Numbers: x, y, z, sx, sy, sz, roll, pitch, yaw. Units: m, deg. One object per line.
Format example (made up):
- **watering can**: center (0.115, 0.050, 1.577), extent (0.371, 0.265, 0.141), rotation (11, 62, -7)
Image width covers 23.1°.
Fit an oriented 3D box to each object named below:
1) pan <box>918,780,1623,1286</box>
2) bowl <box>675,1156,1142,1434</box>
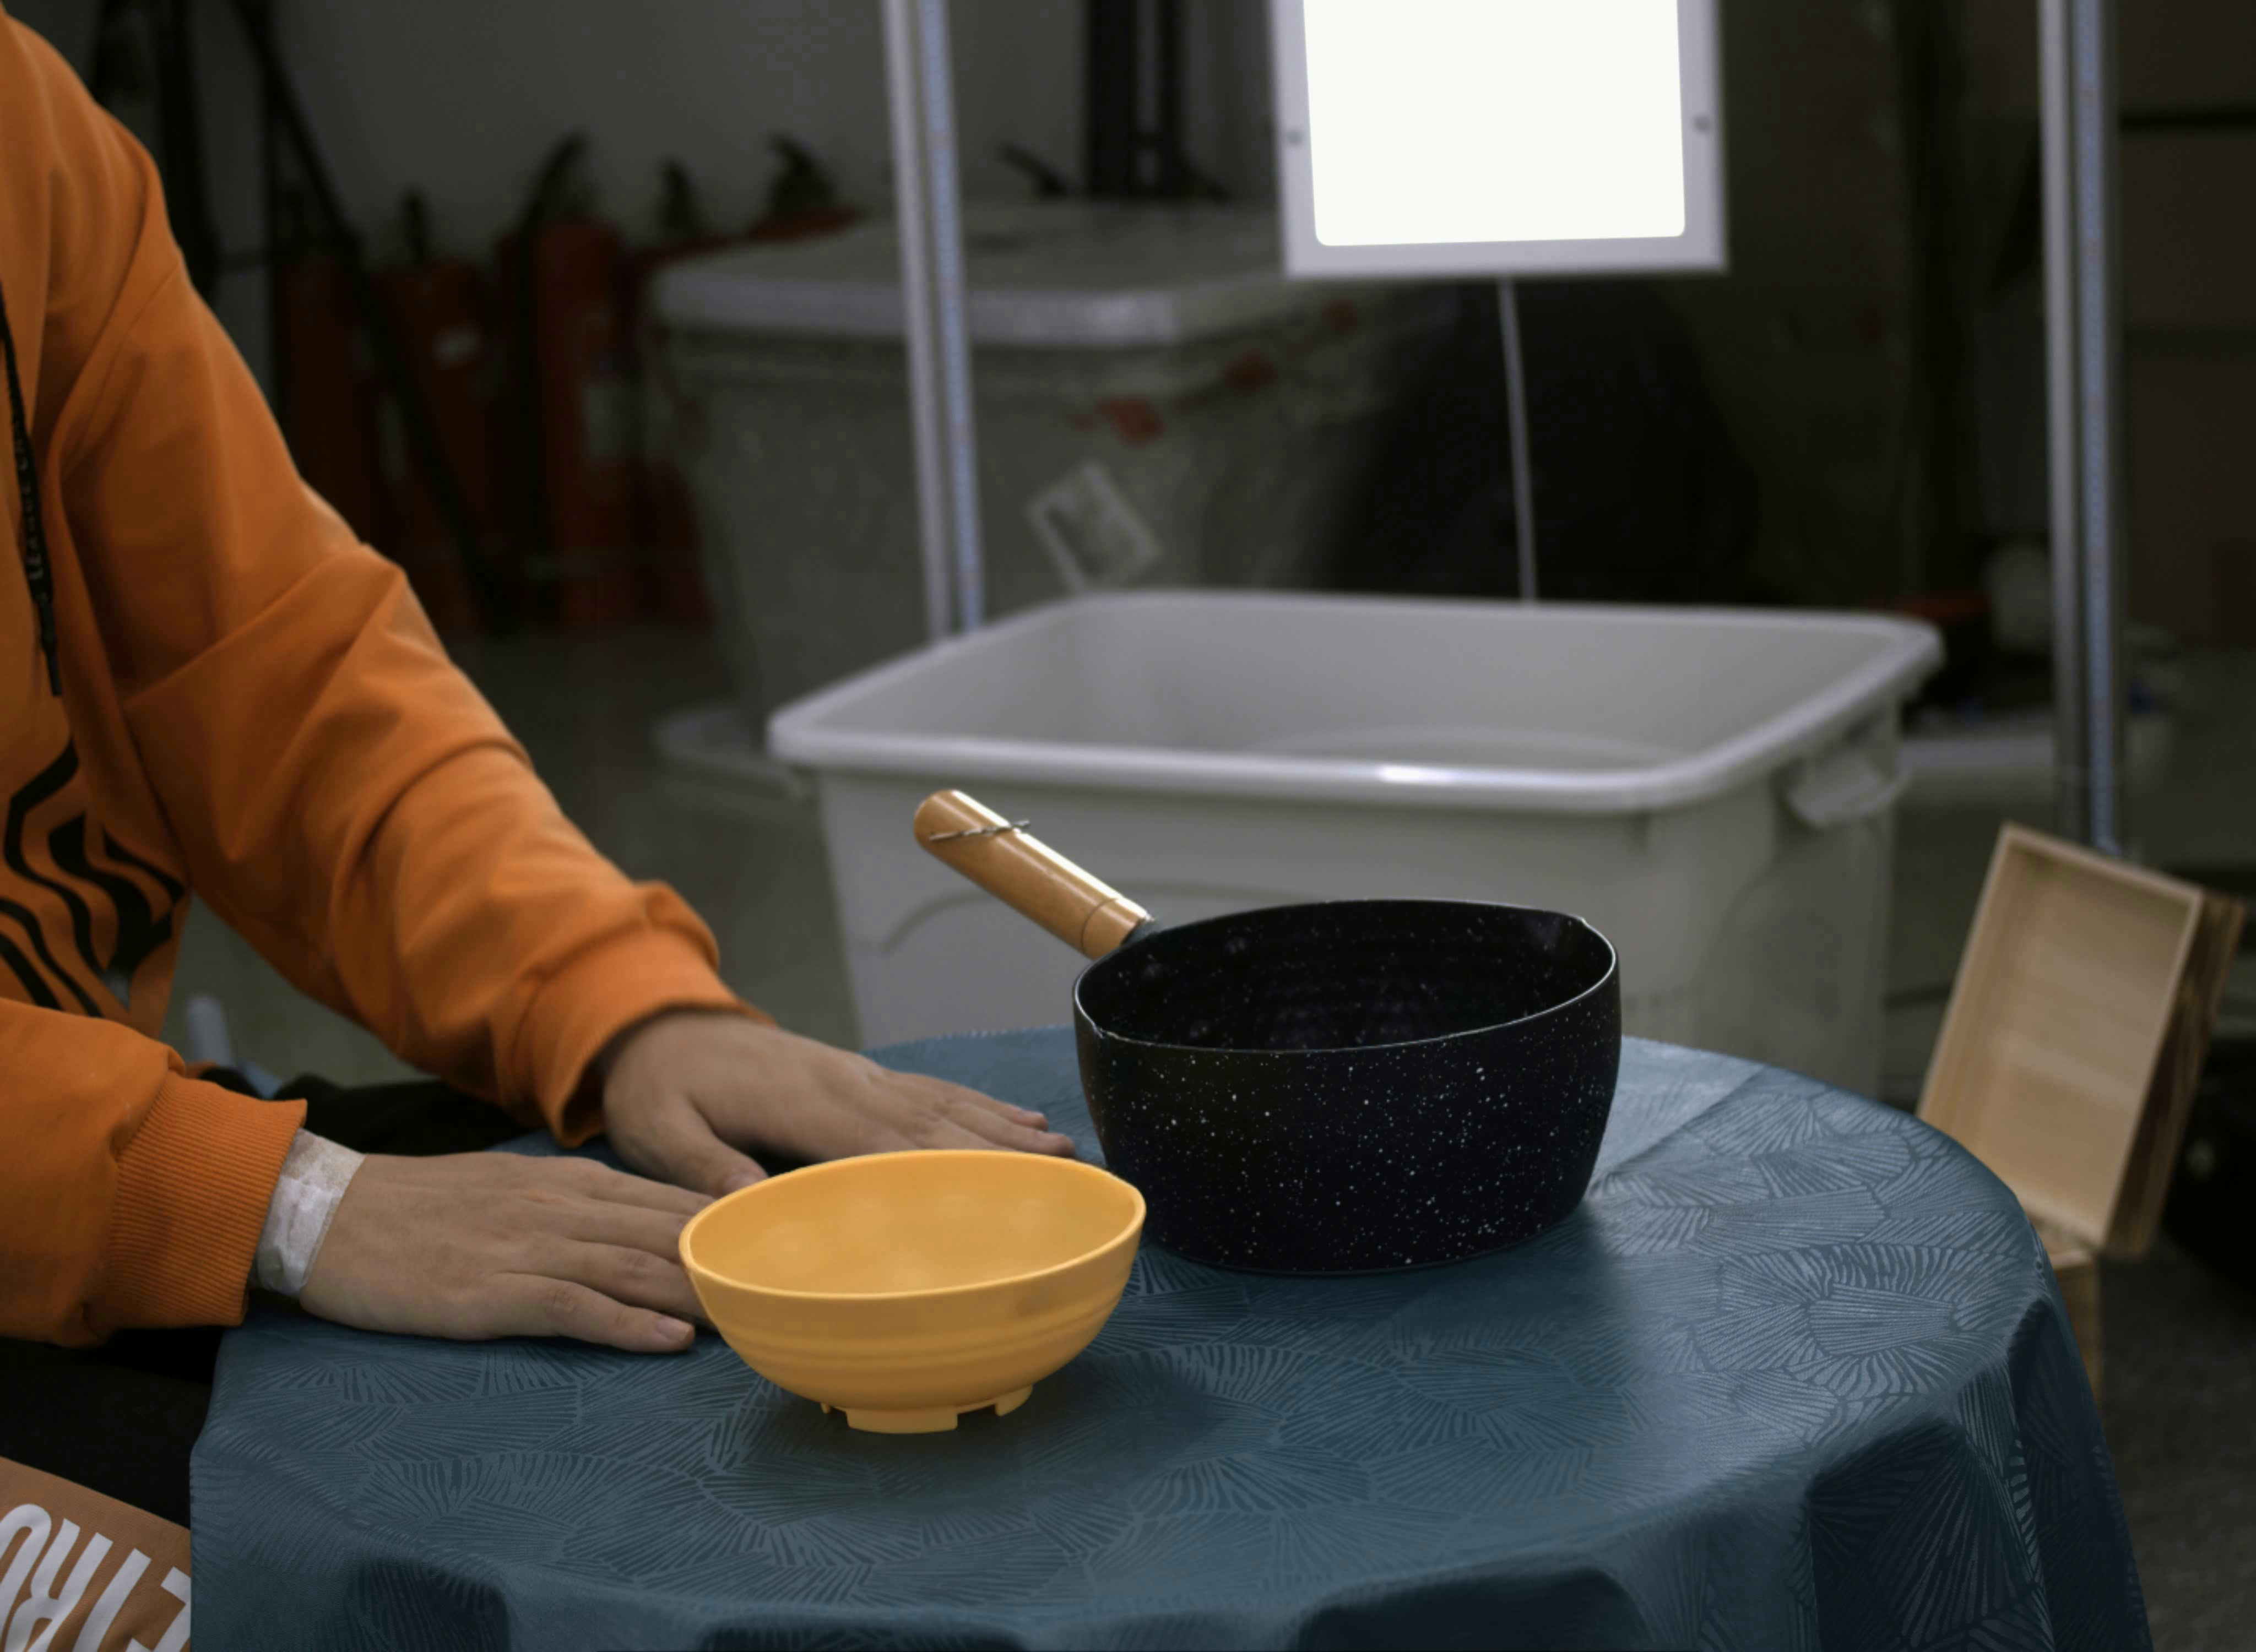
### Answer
- **pan**: center (0.028, 0.065, 1.910), extent (0.202, 0.108, 0.349), rotation (-16, 19, -32)
- **bowl**: center (-0.066, 0.149, 1.705), extent (0.145, 0.060, 0.145), rotation (-4, 13, -1)
